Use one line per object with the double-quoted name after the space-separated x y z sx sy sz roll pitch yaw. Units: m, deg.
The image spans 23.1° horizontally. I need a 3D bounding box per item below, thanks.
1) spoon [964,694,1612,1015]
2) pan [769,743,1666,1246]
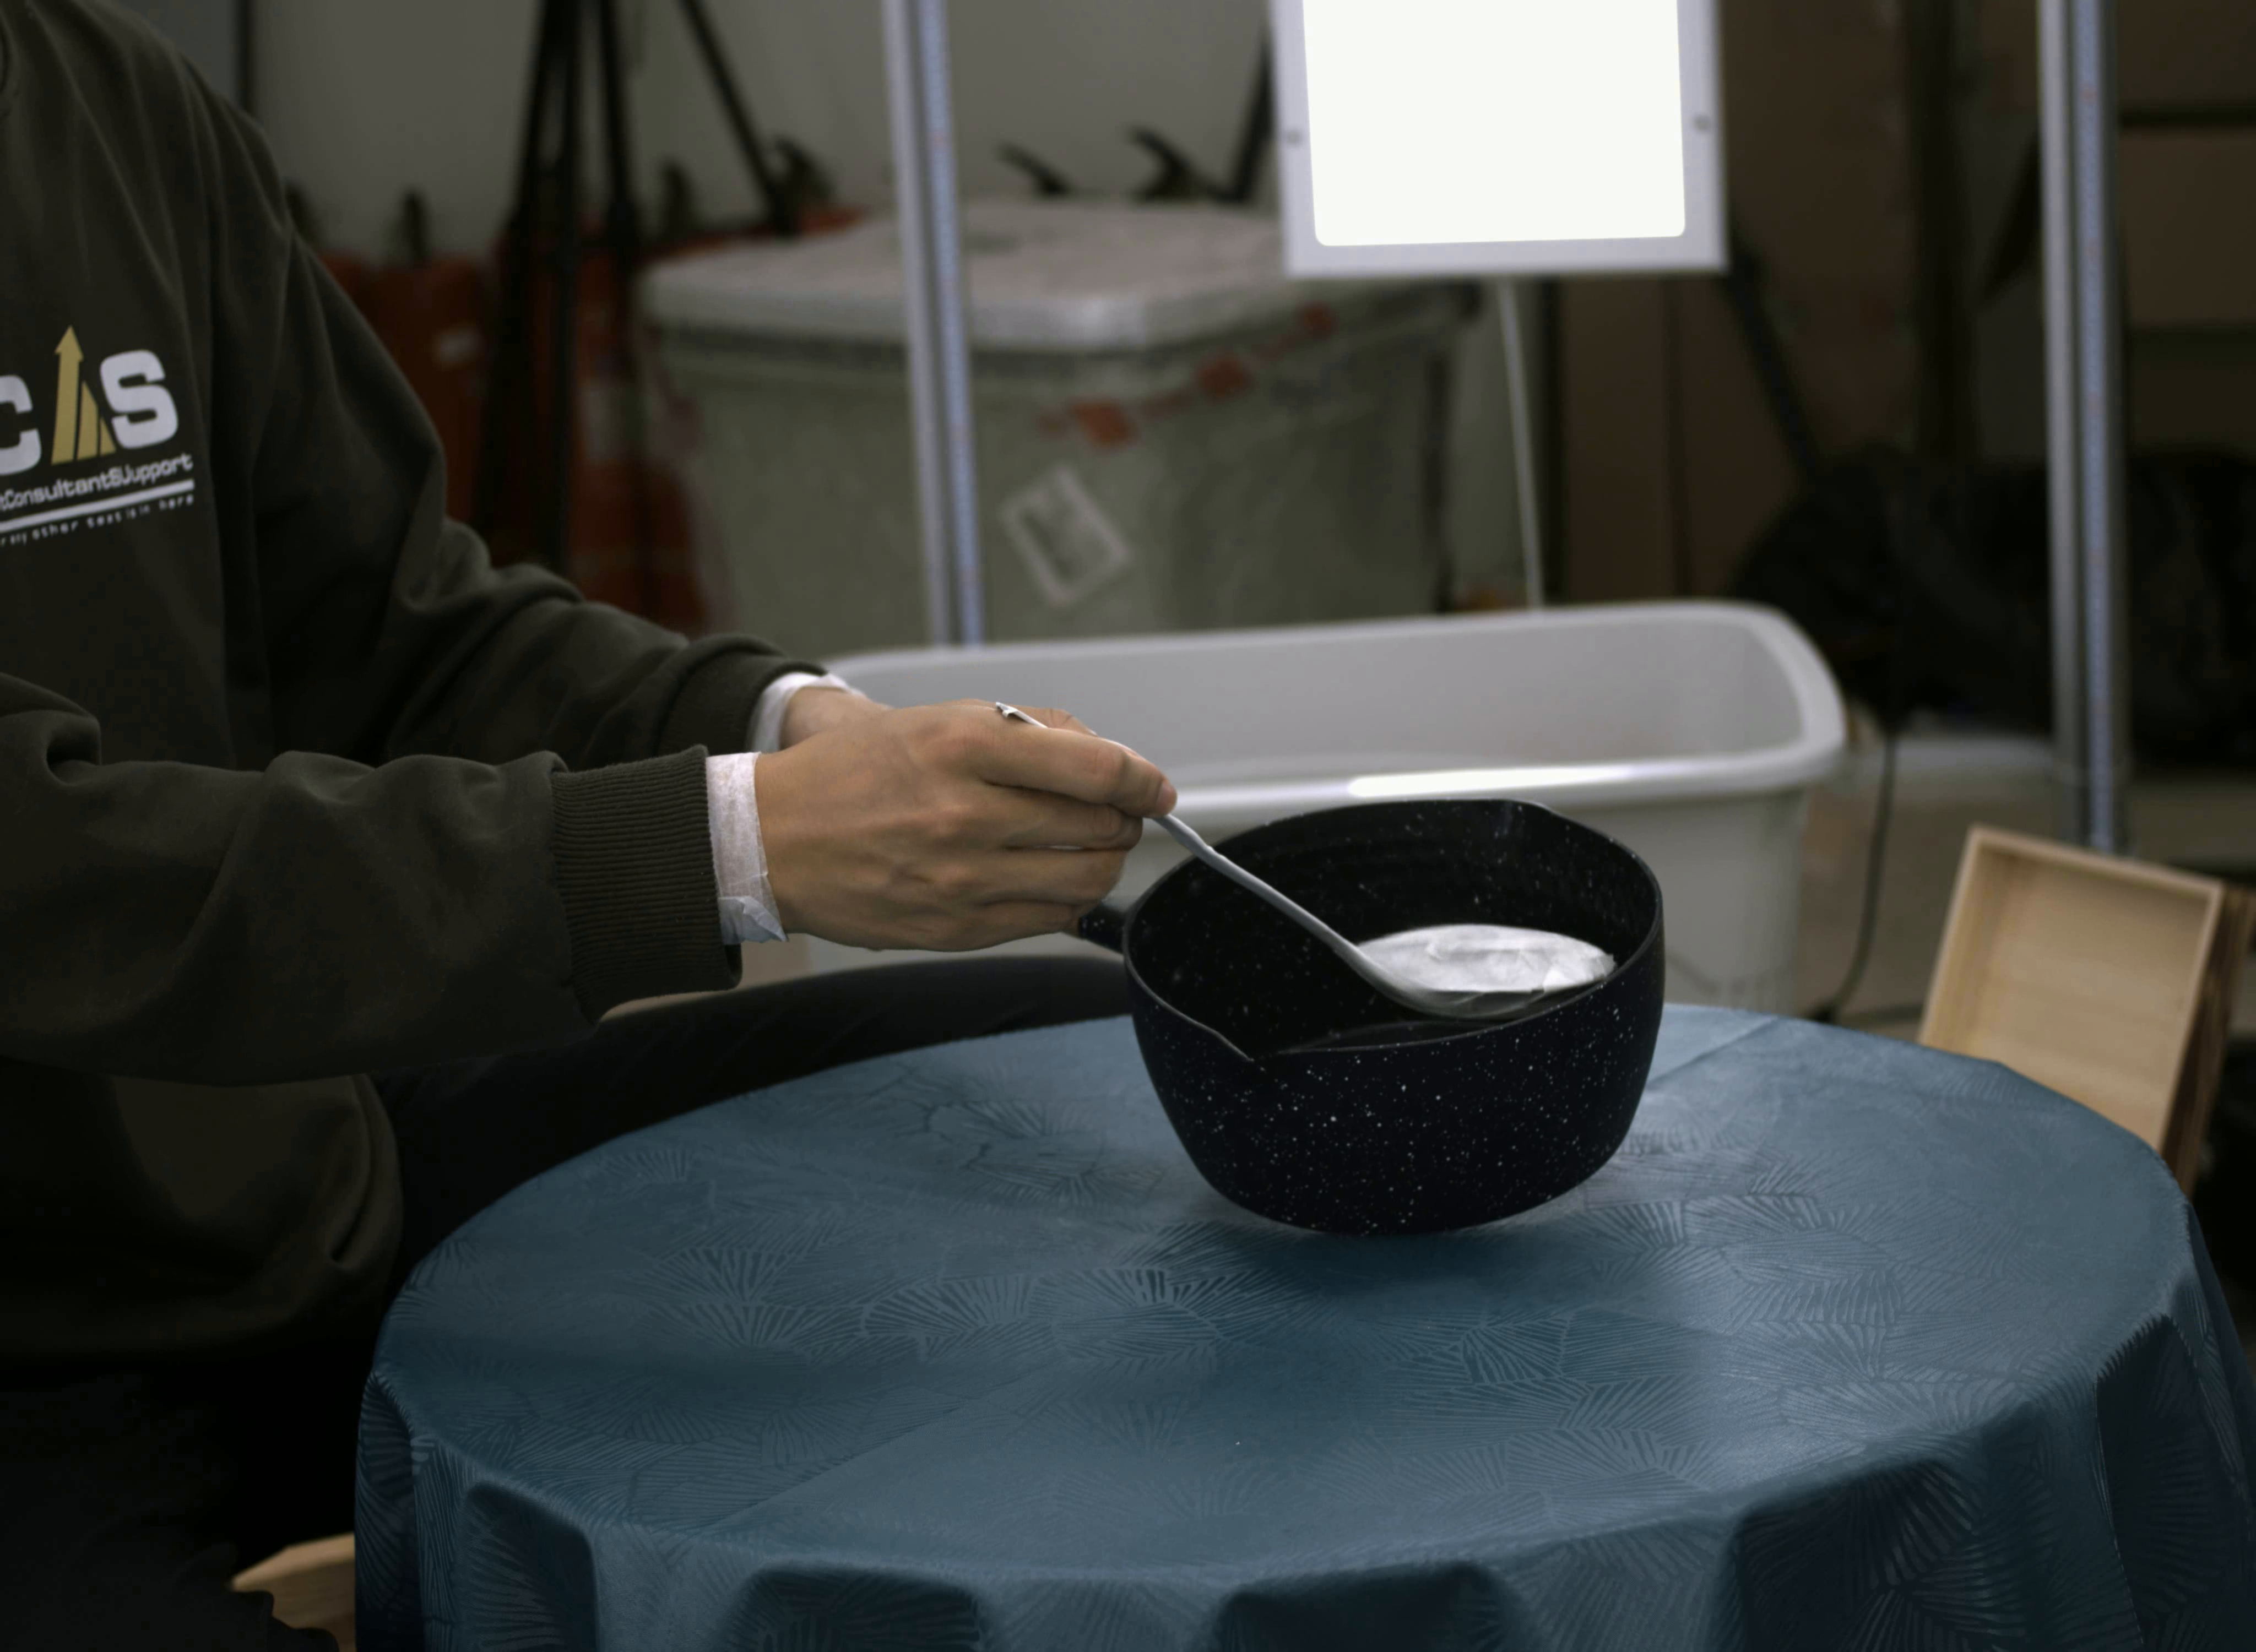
0.051 -0.001 1.826 0.272 0.059 0.103 34 -12 -35 "spoon"
0.023 0.047 1.911 0.349 0.108 0.203 10 32 29 "pan"
